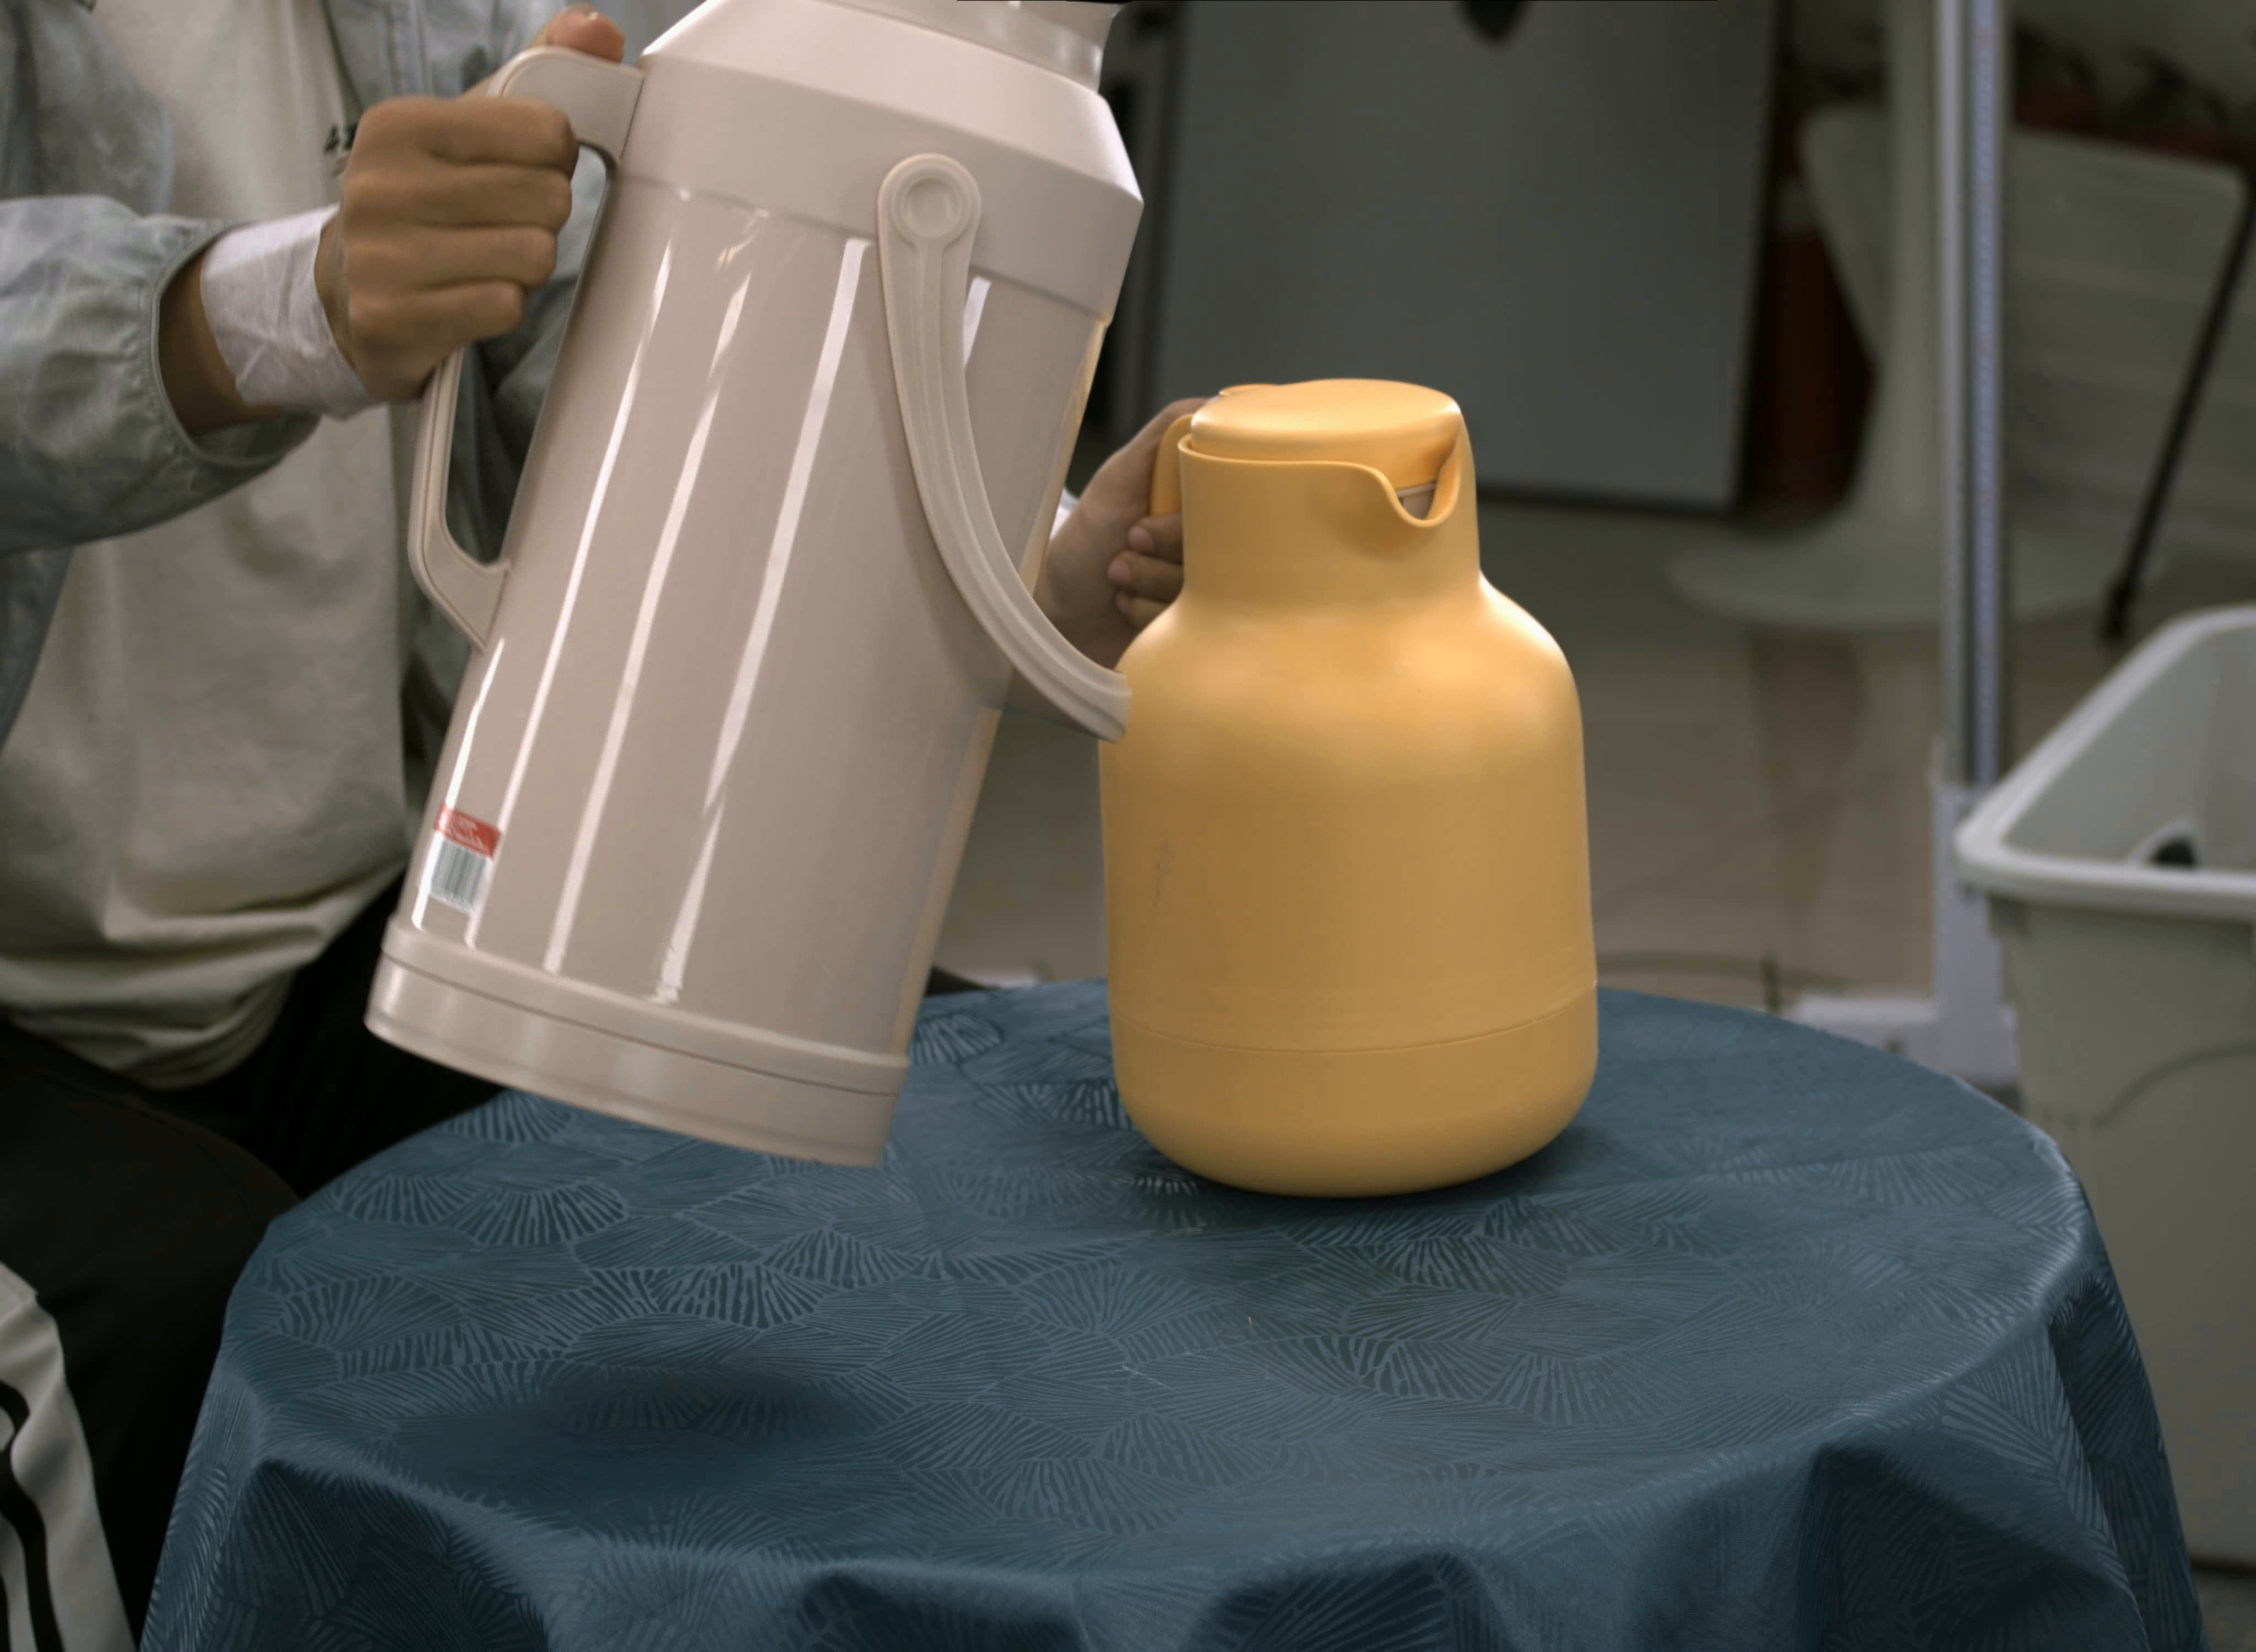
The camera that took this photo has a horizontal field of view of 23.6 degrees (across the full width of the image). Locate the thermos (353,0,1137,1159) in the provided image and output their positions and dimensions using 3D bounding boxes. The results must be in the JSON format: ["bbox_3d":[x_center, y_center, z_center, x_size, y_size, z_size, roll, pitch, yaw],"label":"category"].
[{"bbox_3d":[-0.111,-0.121,1.584,0.203,0.411,0.176,16,1,-13],"label":"thermos"}]

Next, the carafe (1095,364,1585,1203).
[{"bbox_3d":[0.062,-0.022,1.788,0.160,0.263,0.204,-6,14,-20],"label":"carafe"}]
